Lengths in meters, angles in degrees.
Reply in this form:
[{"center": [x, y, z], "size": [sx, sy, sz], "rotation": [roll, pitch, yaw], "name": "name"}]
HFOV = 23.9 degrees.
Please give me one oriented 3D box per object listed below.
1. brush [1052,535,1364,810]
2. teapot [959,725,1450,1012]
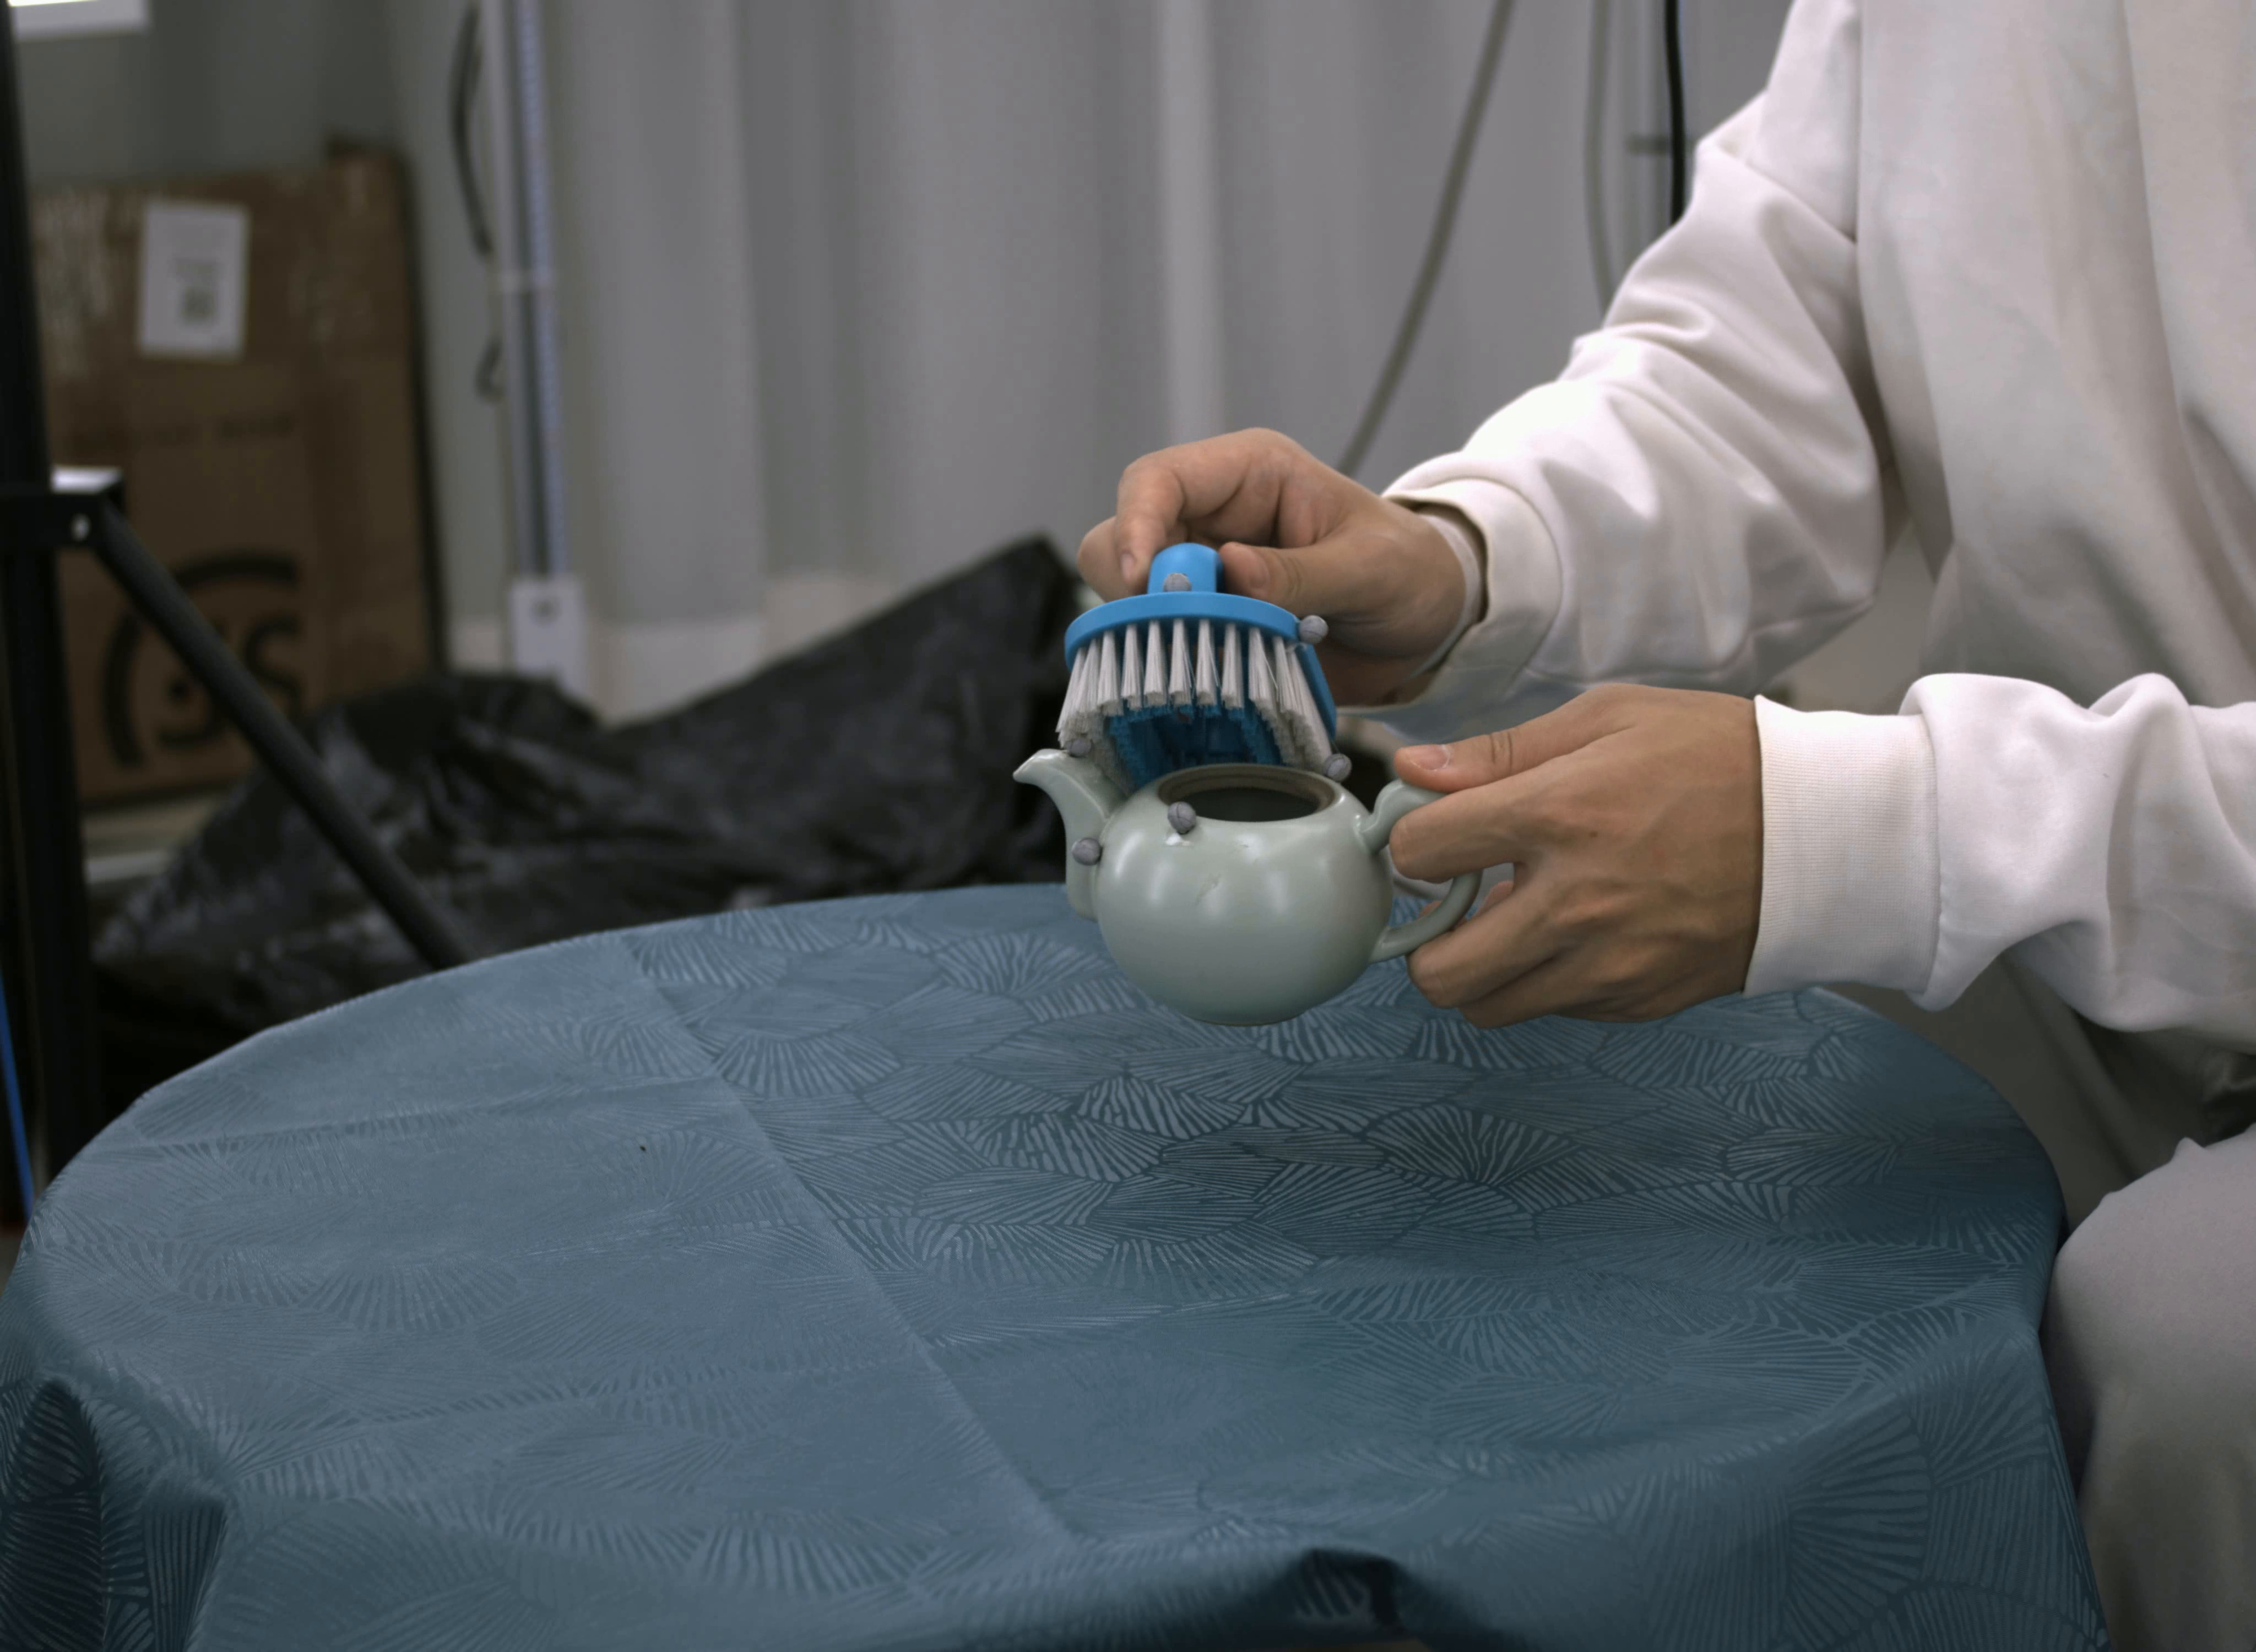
[{"center": [0.024, -0.046, 1.602], "size": [0.084, 0.064, 0.140], "rotation": [-7, -21, 8], "name": "brush"}, {"center": [0.026, 0.013, 1.570], "size": [0.144, 0.074, 0.088], "rotation": [-7, 22, 10], "name": "teapot"}]
